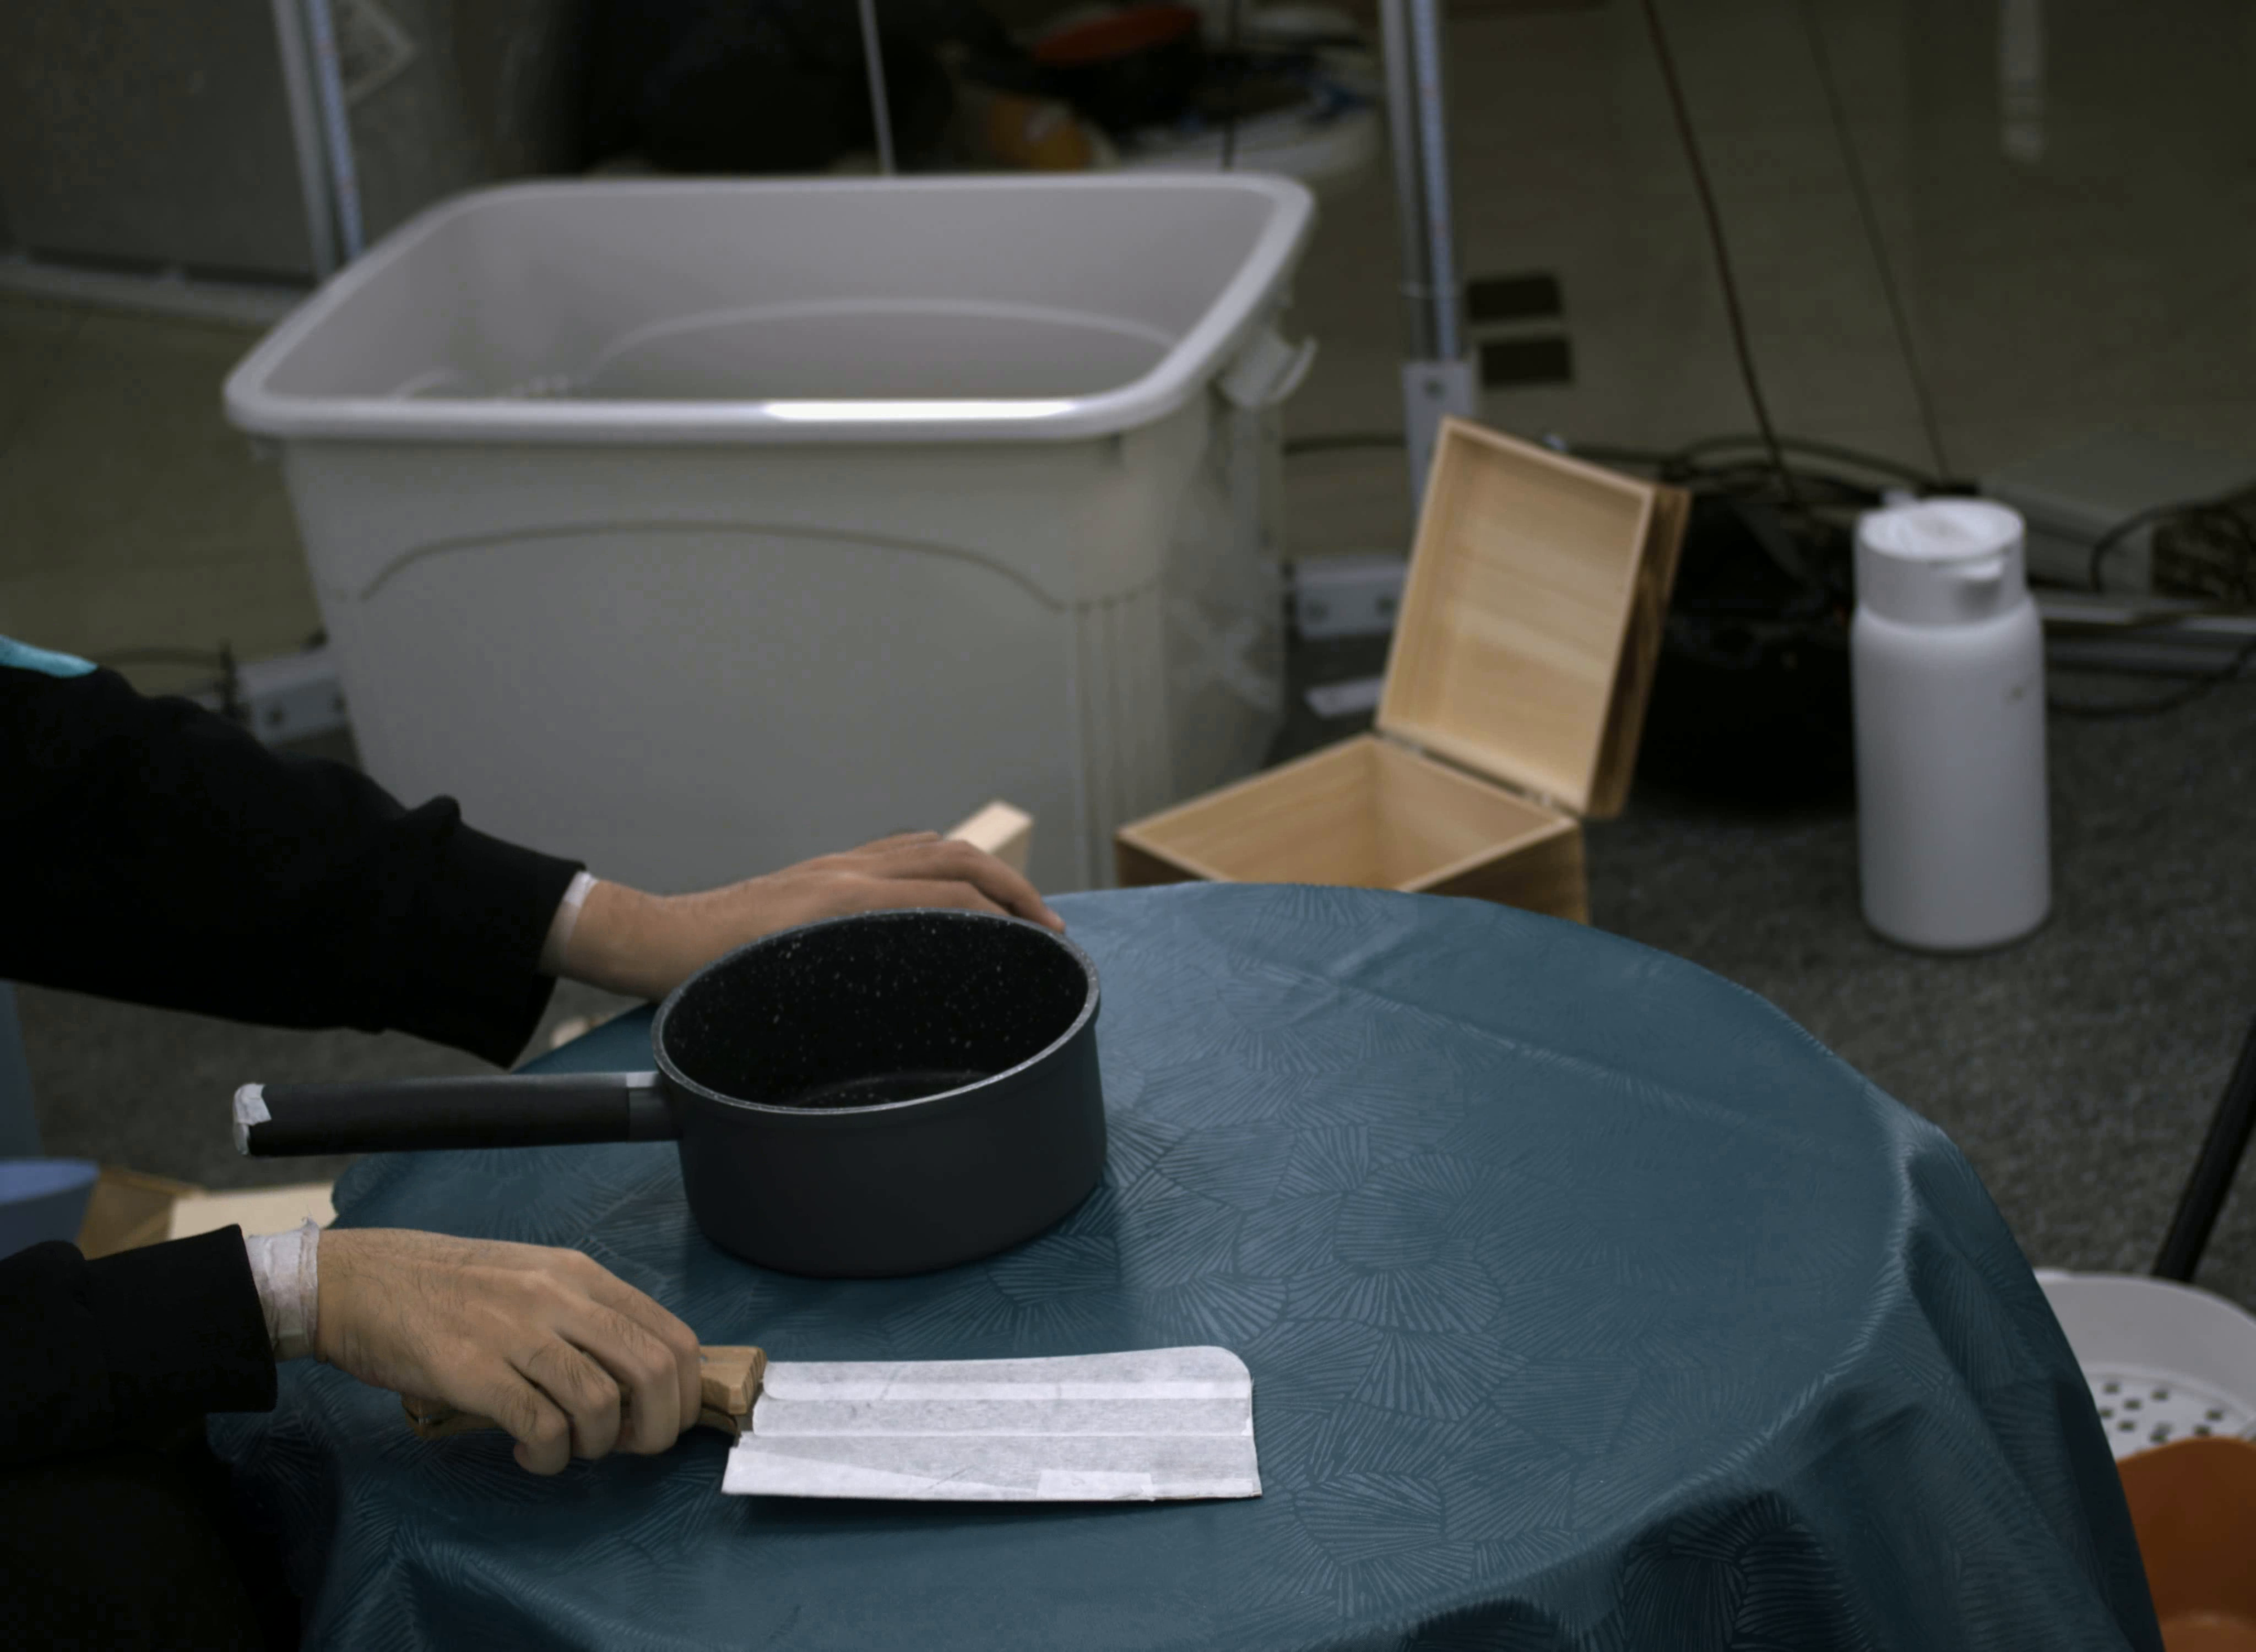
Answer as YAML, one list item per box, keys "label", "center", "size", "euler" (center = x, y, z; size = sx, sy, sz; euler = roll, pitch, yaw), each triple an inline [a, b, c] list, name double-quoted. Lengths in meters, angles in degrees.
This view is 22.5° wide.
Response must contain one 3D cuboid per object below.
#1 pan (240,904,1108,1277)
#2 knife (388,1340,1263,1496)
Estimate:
- label: "pan"
  center: [-0.169, 0.111, 2.147]
  size: [0.328, 0.088, 0.169]
  euler: [-9, 23, -6]
- label: "knife"
  center: [-0.106, 0.206, 1.997]
  size: [0.315, 0.022, 0.112]
  euler: [1, 25, 6]
